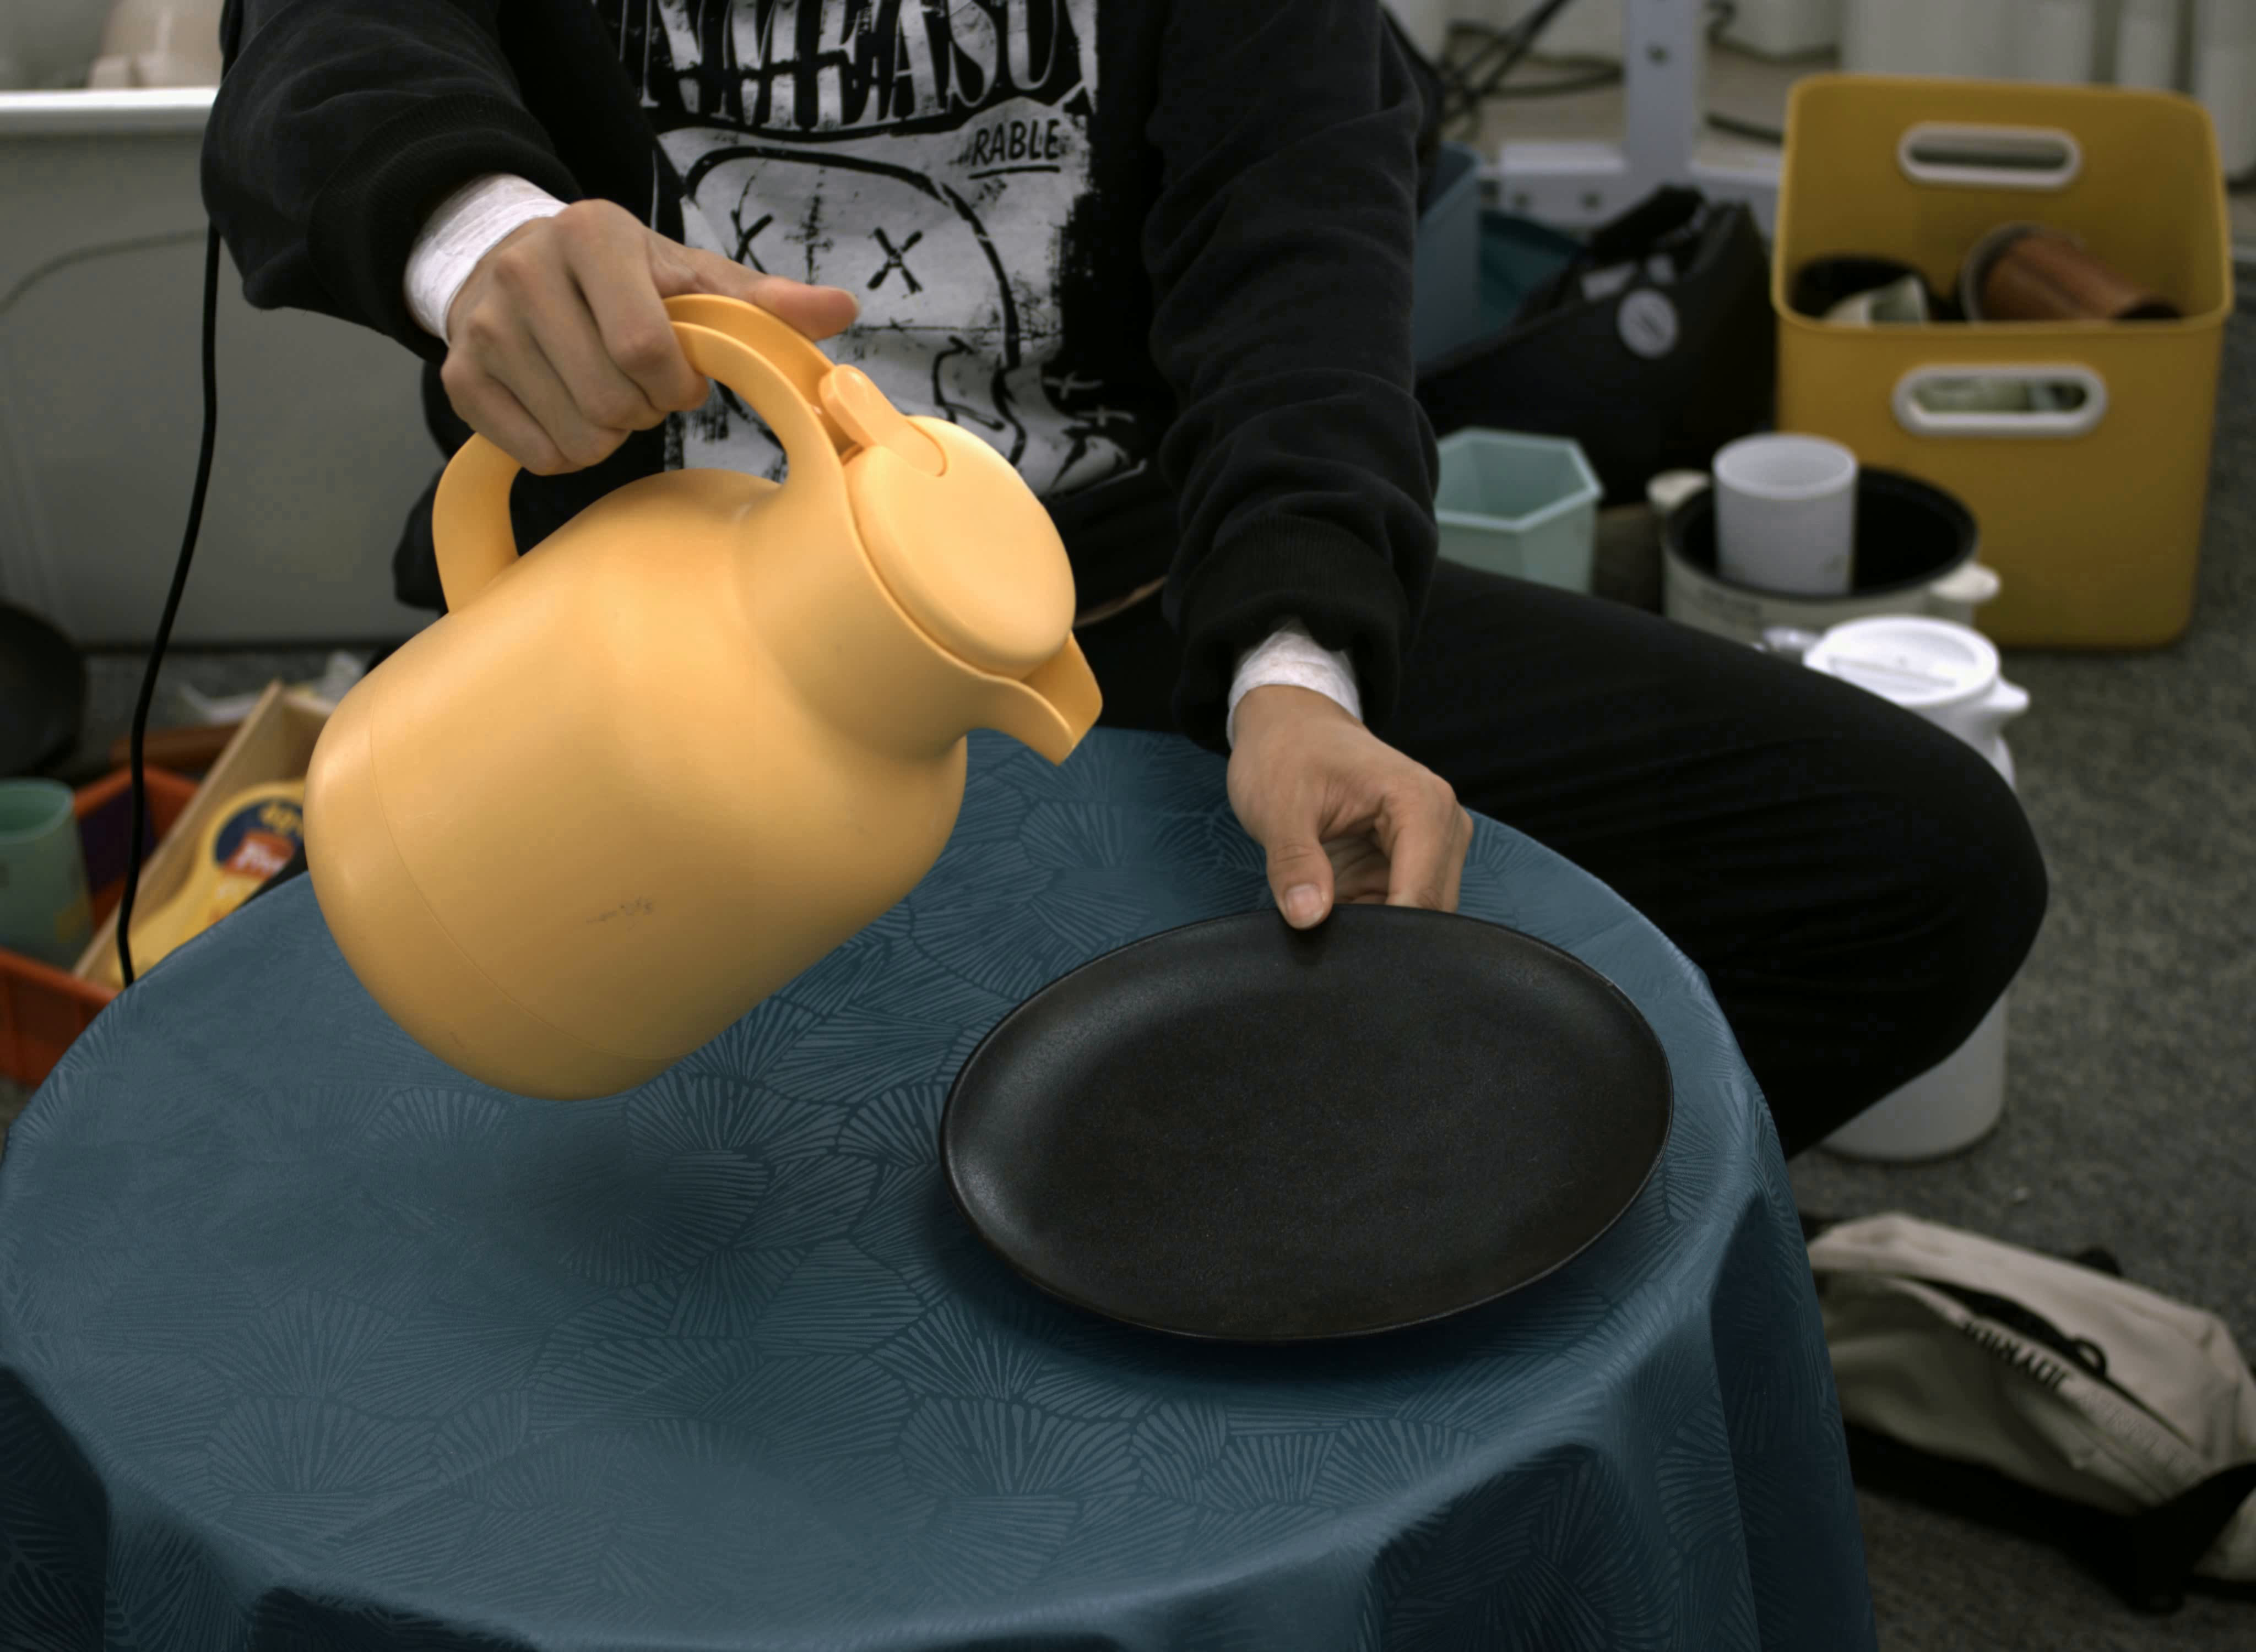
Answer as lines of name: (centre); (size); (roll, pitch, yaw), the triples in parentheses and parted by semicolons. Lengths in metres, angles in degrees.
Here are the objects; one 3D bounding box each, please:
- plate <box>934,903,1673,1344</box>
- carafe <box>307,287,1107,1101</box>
plate: (0.058, 0.102, 1.848); (0.243, 0.023, 0.248); (-4, 32, 3)
carafe: (-0.142, -0.048, 1.790); (0.256, 0.202, 0.166); (-35, 5, 29)
